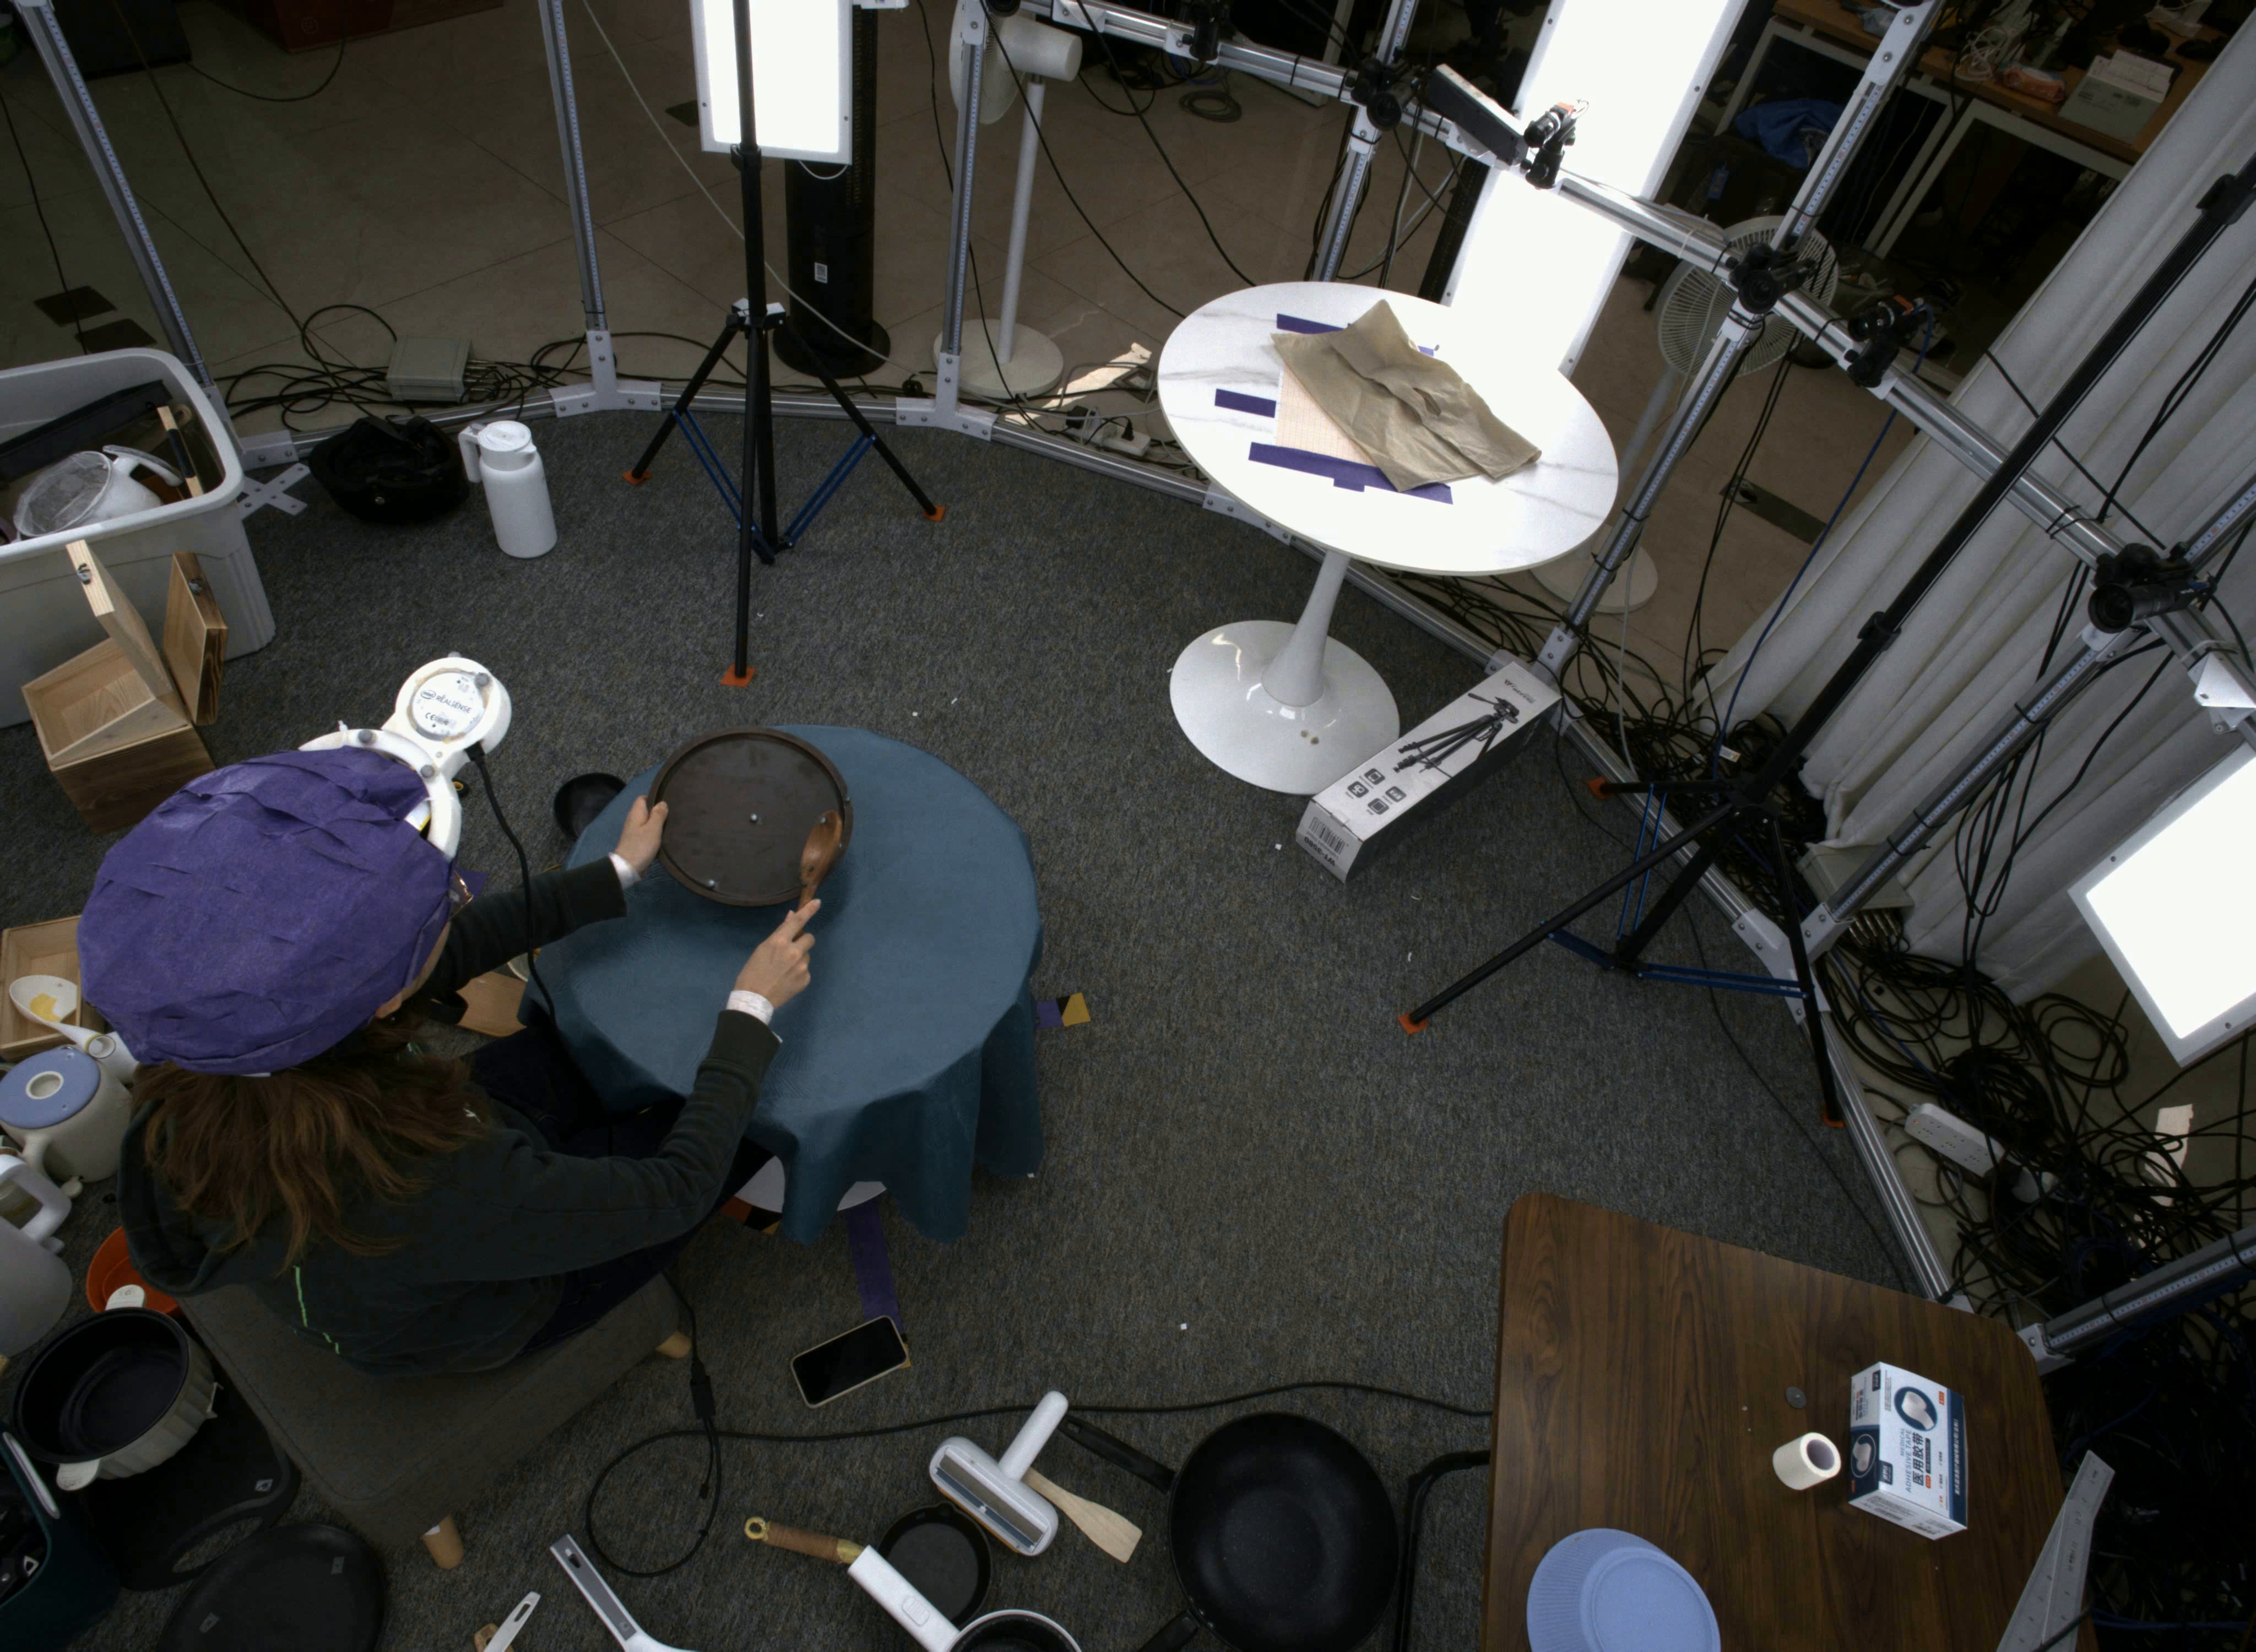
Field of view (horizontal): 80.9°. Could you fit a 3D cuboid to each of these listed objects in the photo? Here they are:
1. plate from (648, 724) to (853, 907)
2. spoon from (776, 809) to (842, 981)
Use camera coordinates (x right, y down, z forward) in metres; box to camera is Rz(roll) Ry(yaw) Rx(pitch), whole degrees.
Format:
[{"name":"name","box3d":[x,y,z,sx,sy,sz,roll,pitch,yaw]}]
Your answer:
[{"name":"plate","box3d":[-0.473,-0.015,1.623,0.256,0.029,0.252,9,62,-16]},{"name":"spoon","box3d":[-0.379,0.078,1.532,0.018,0.073,0.214,31,60,-37]}]
